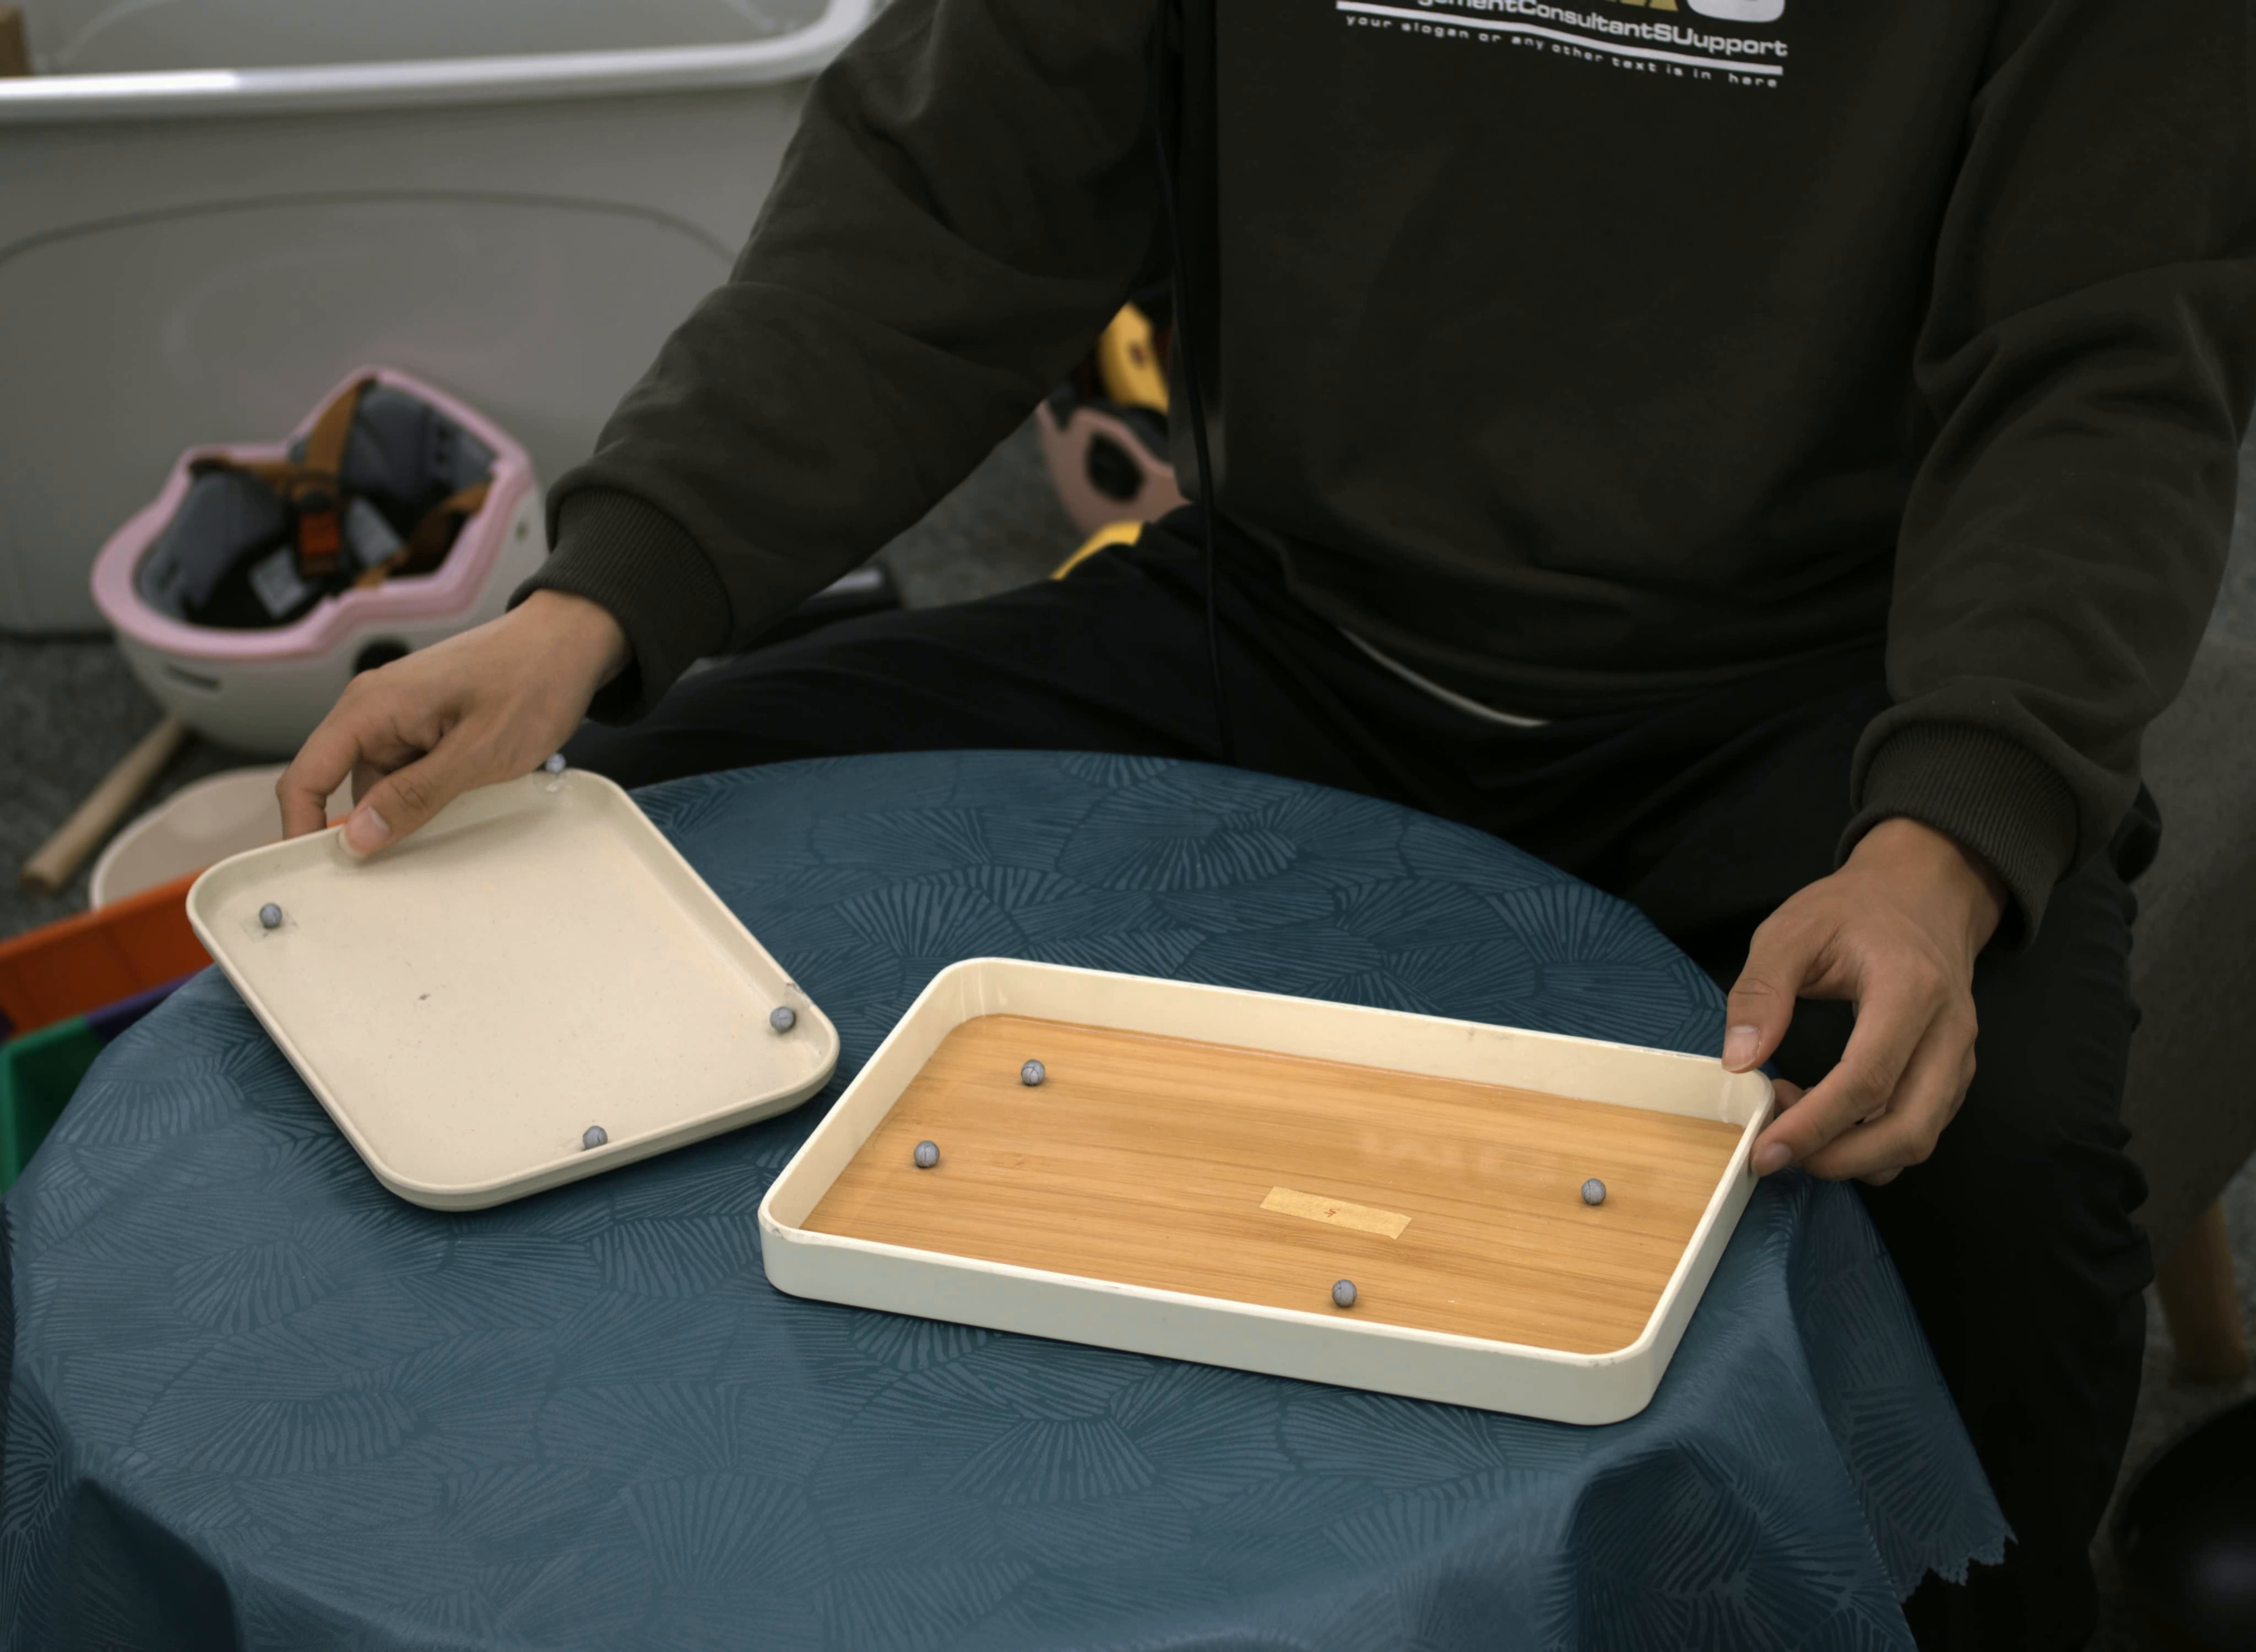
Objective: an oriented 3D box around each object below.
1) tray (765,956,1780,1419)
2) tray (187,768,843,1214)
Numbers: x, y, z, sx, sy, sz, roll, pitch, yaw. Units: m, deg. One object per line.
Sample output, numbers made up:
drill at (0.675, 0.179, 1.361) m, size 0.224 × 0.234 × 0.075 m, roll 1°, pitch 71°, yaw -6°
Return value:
tray at (0.049, 0.115, 1.845) m, size 0.298 × 0.027 × 0.195 m, roll 8°, pitch 29°, yaw 18°
tray at (-0.217, 0.057, 1.972) m, size 0.172 × 0.017 × 0.241 m, roll -17°, pitch 35°, yaw -23°
